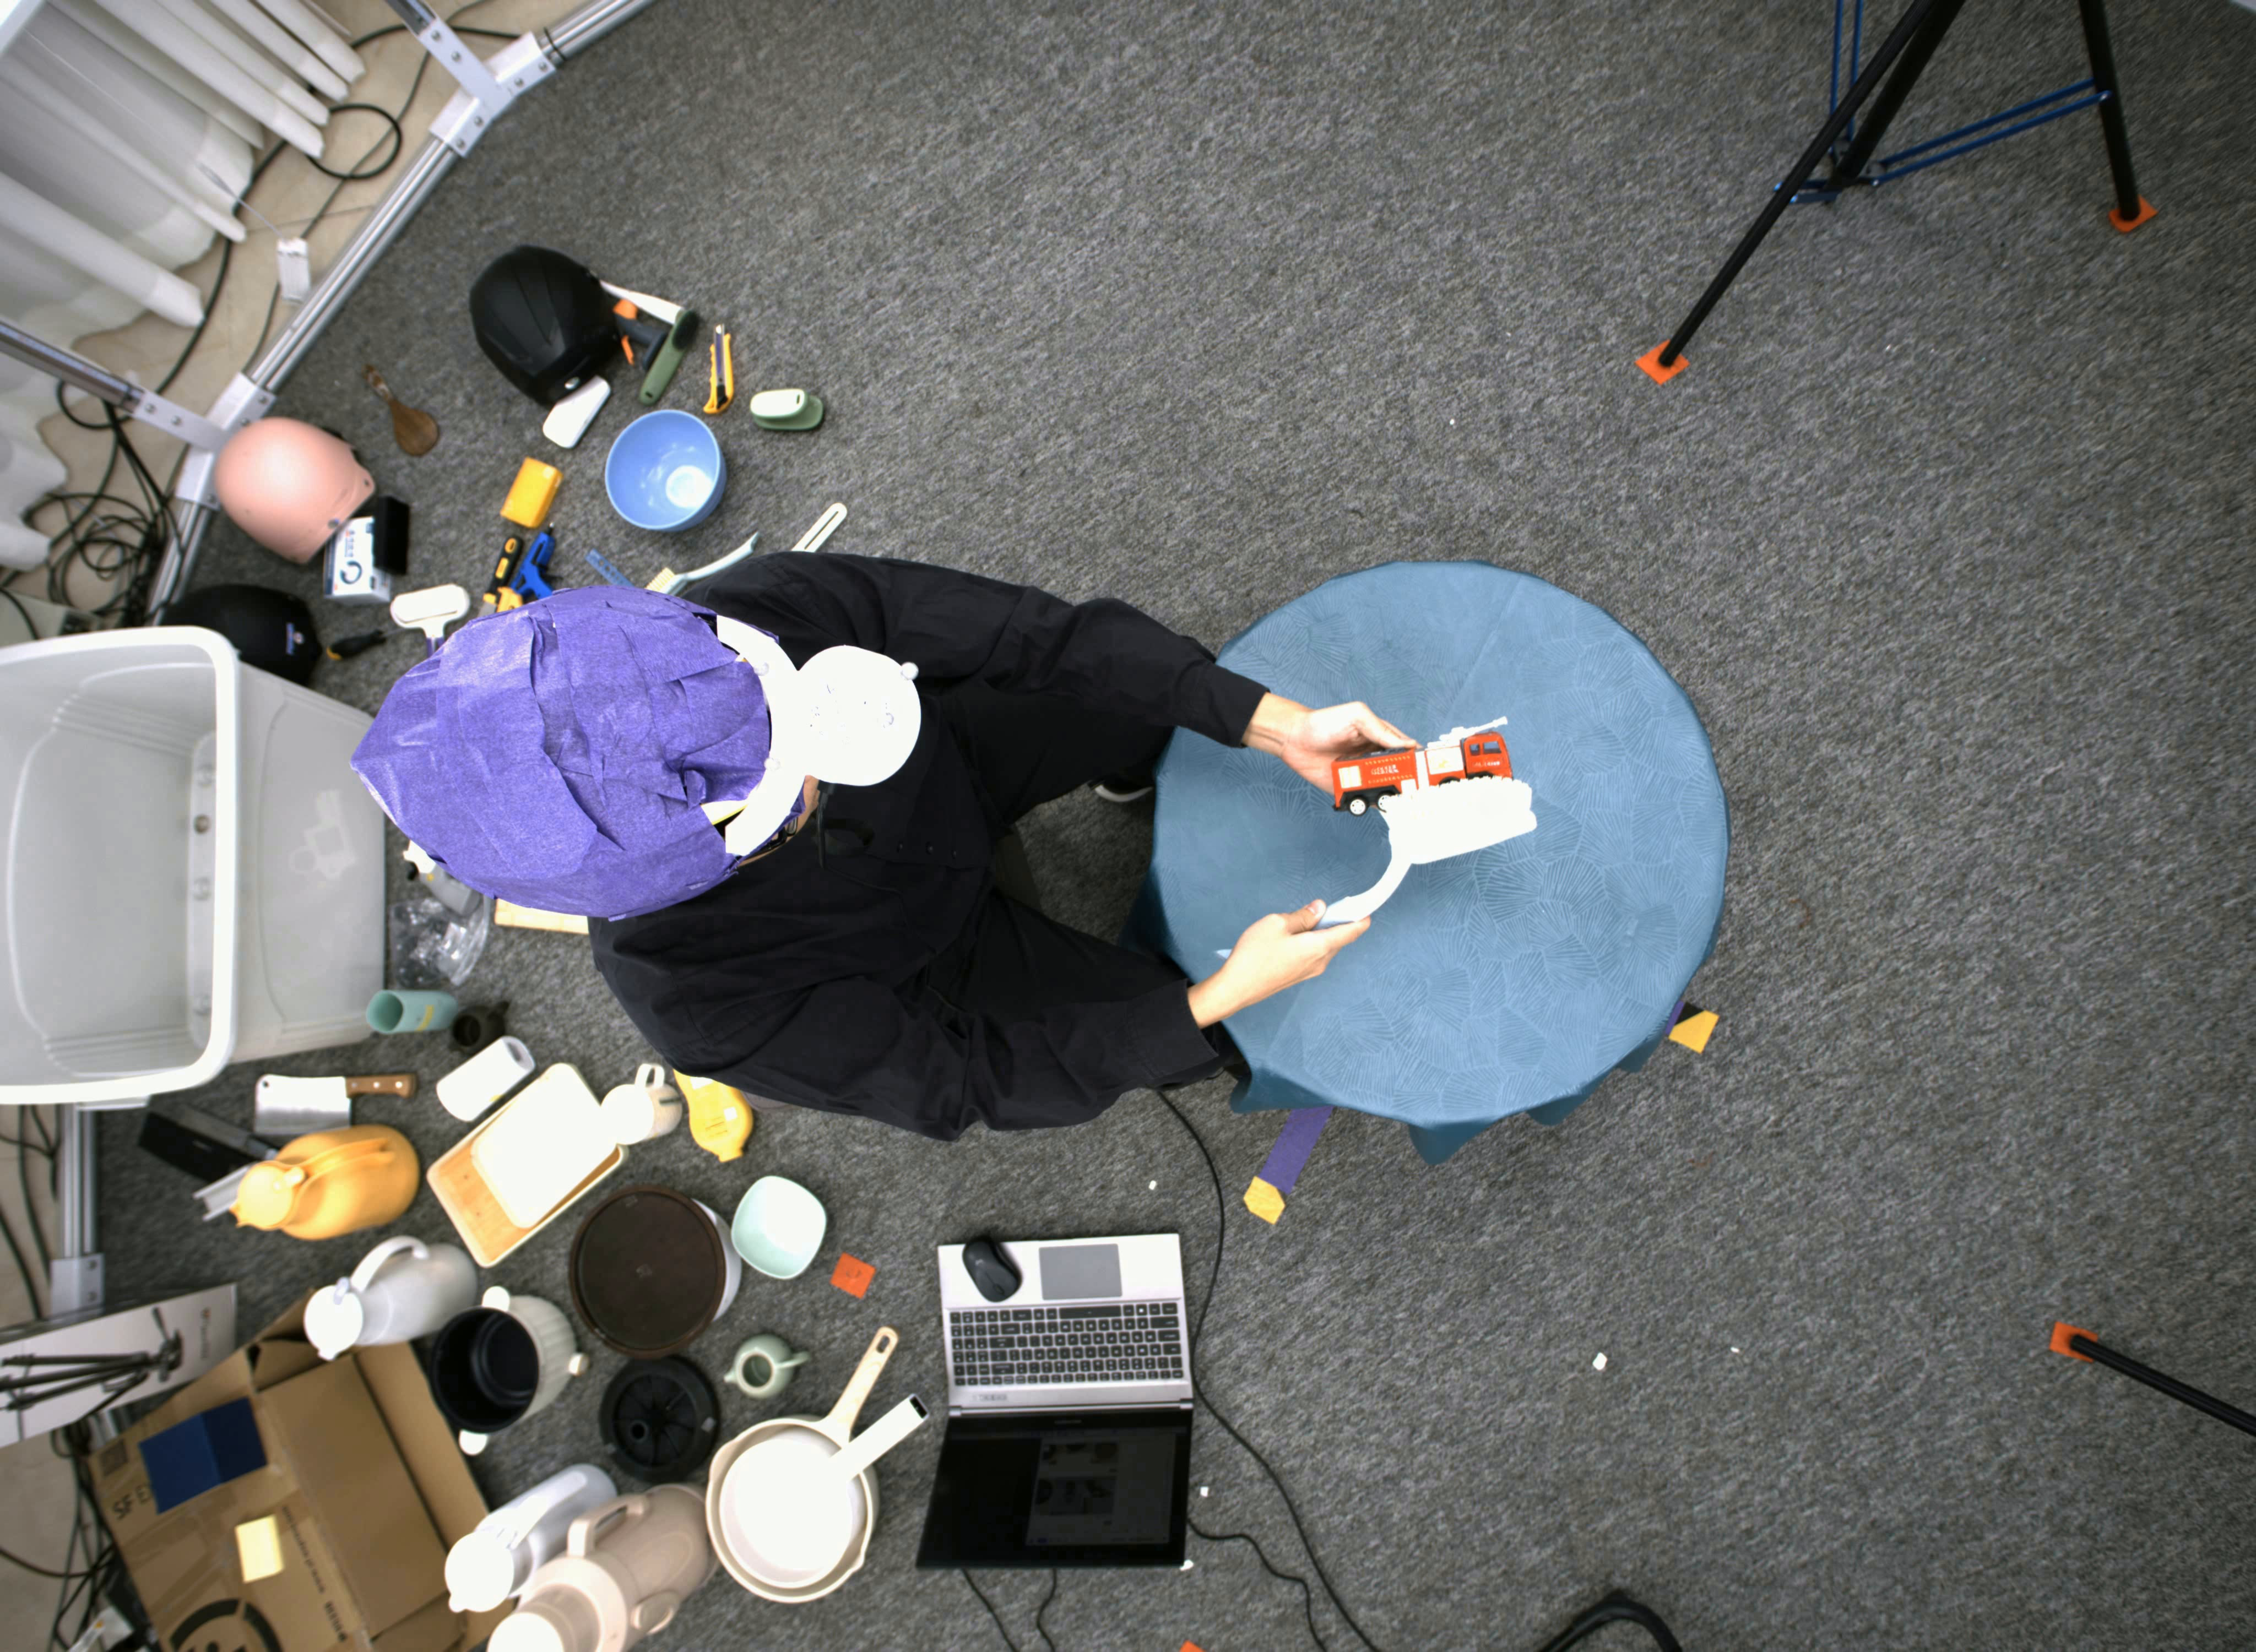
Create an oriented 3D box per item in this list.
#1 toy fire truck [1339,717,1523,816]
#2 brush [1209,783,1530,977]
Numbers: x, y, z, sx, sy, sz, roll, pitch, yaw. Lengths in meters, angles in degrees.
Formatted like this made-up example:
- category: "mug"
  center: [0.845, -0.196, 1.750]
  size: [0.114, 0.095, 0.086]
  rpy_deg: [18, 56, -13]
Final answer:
- category: "toy fire truck"
  center: [0.273, -0.052, 1.246]
  size: [0.169, 0.053, 0.071]
  rpy_deg: [-10, 100, 17]
- category: "brush"
  center: [0.209, 0.035, 1.269]
  size: [0.329, 0.082, 0.084]
  rpy_deg: [-27, 109, 19]
